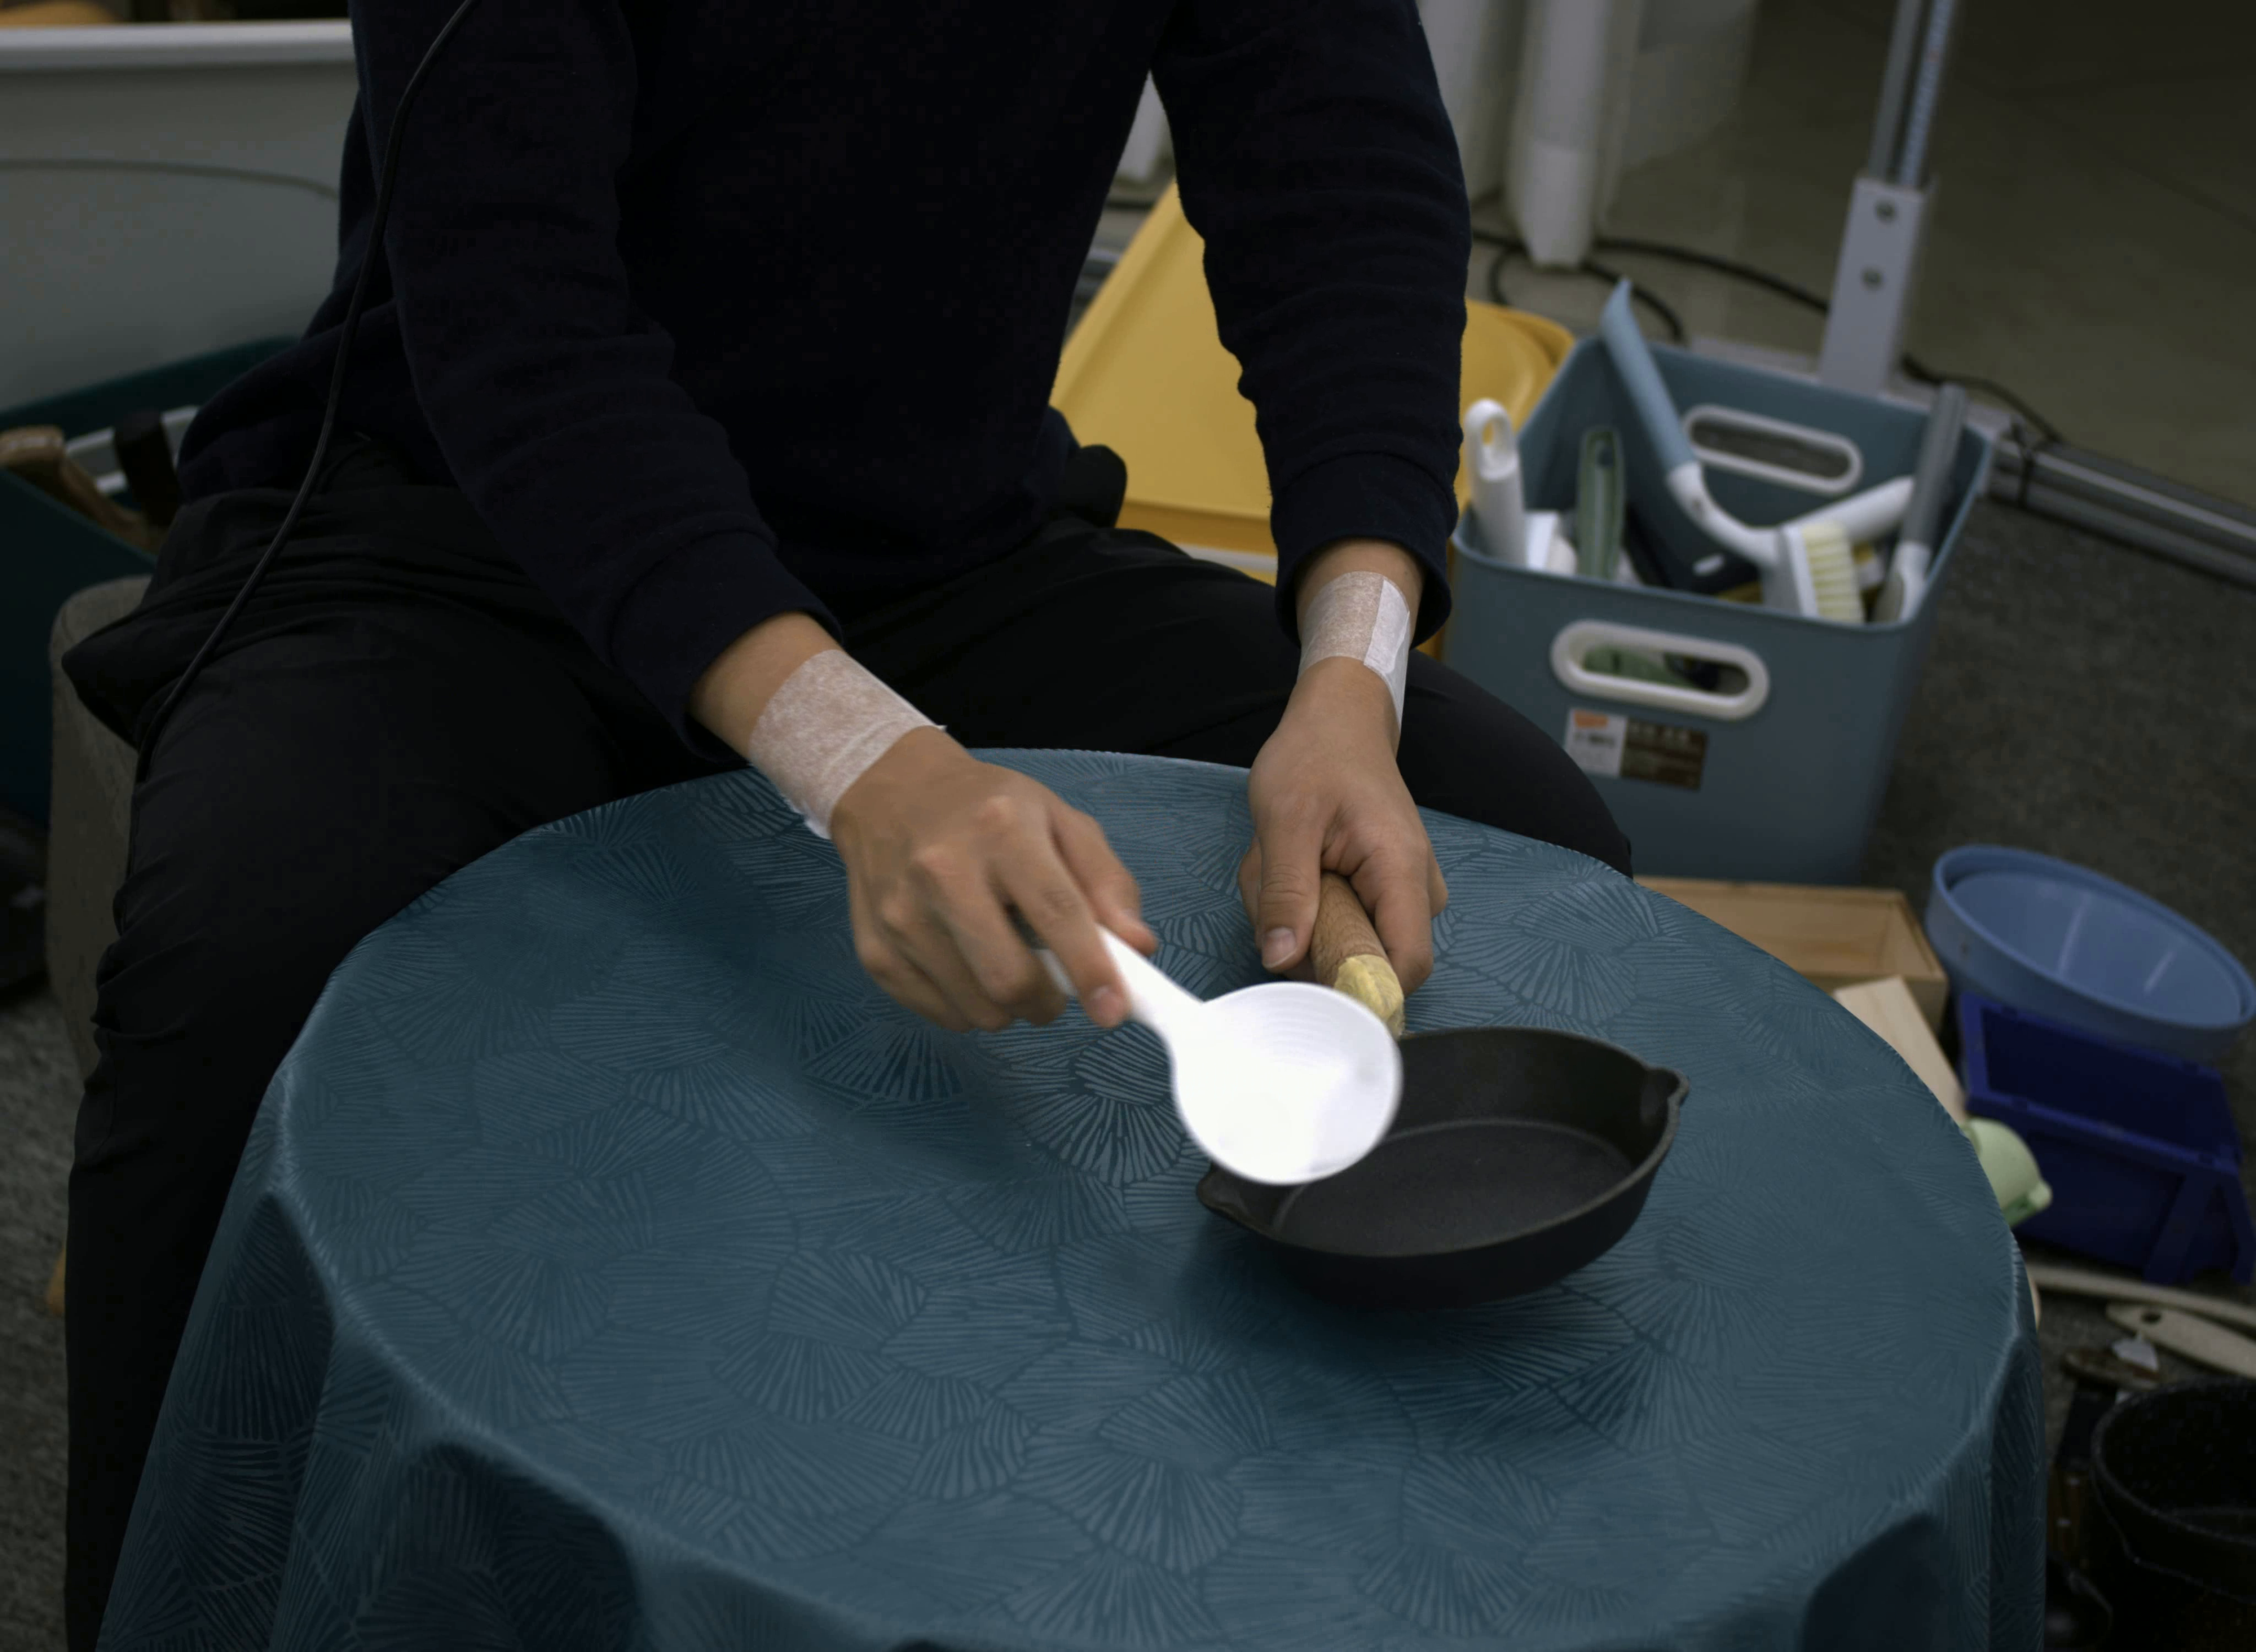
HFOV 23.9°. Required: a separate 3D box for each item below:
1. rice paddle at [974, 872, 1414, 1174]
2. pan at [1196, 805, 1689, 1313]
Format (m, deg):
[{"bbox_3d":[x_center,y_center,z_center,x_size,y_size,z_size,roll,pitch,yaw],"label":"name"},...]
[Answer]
[{"bbox_3d":[0.021,0.061,1.764,0.207,0.069,0.029,27,-11,47],"label":"rice paddle"},{"bbox_3d":[0.093,0.076,1.845,0.168,0.049,0.326,-13,25,-4],"label":"pan"}]
